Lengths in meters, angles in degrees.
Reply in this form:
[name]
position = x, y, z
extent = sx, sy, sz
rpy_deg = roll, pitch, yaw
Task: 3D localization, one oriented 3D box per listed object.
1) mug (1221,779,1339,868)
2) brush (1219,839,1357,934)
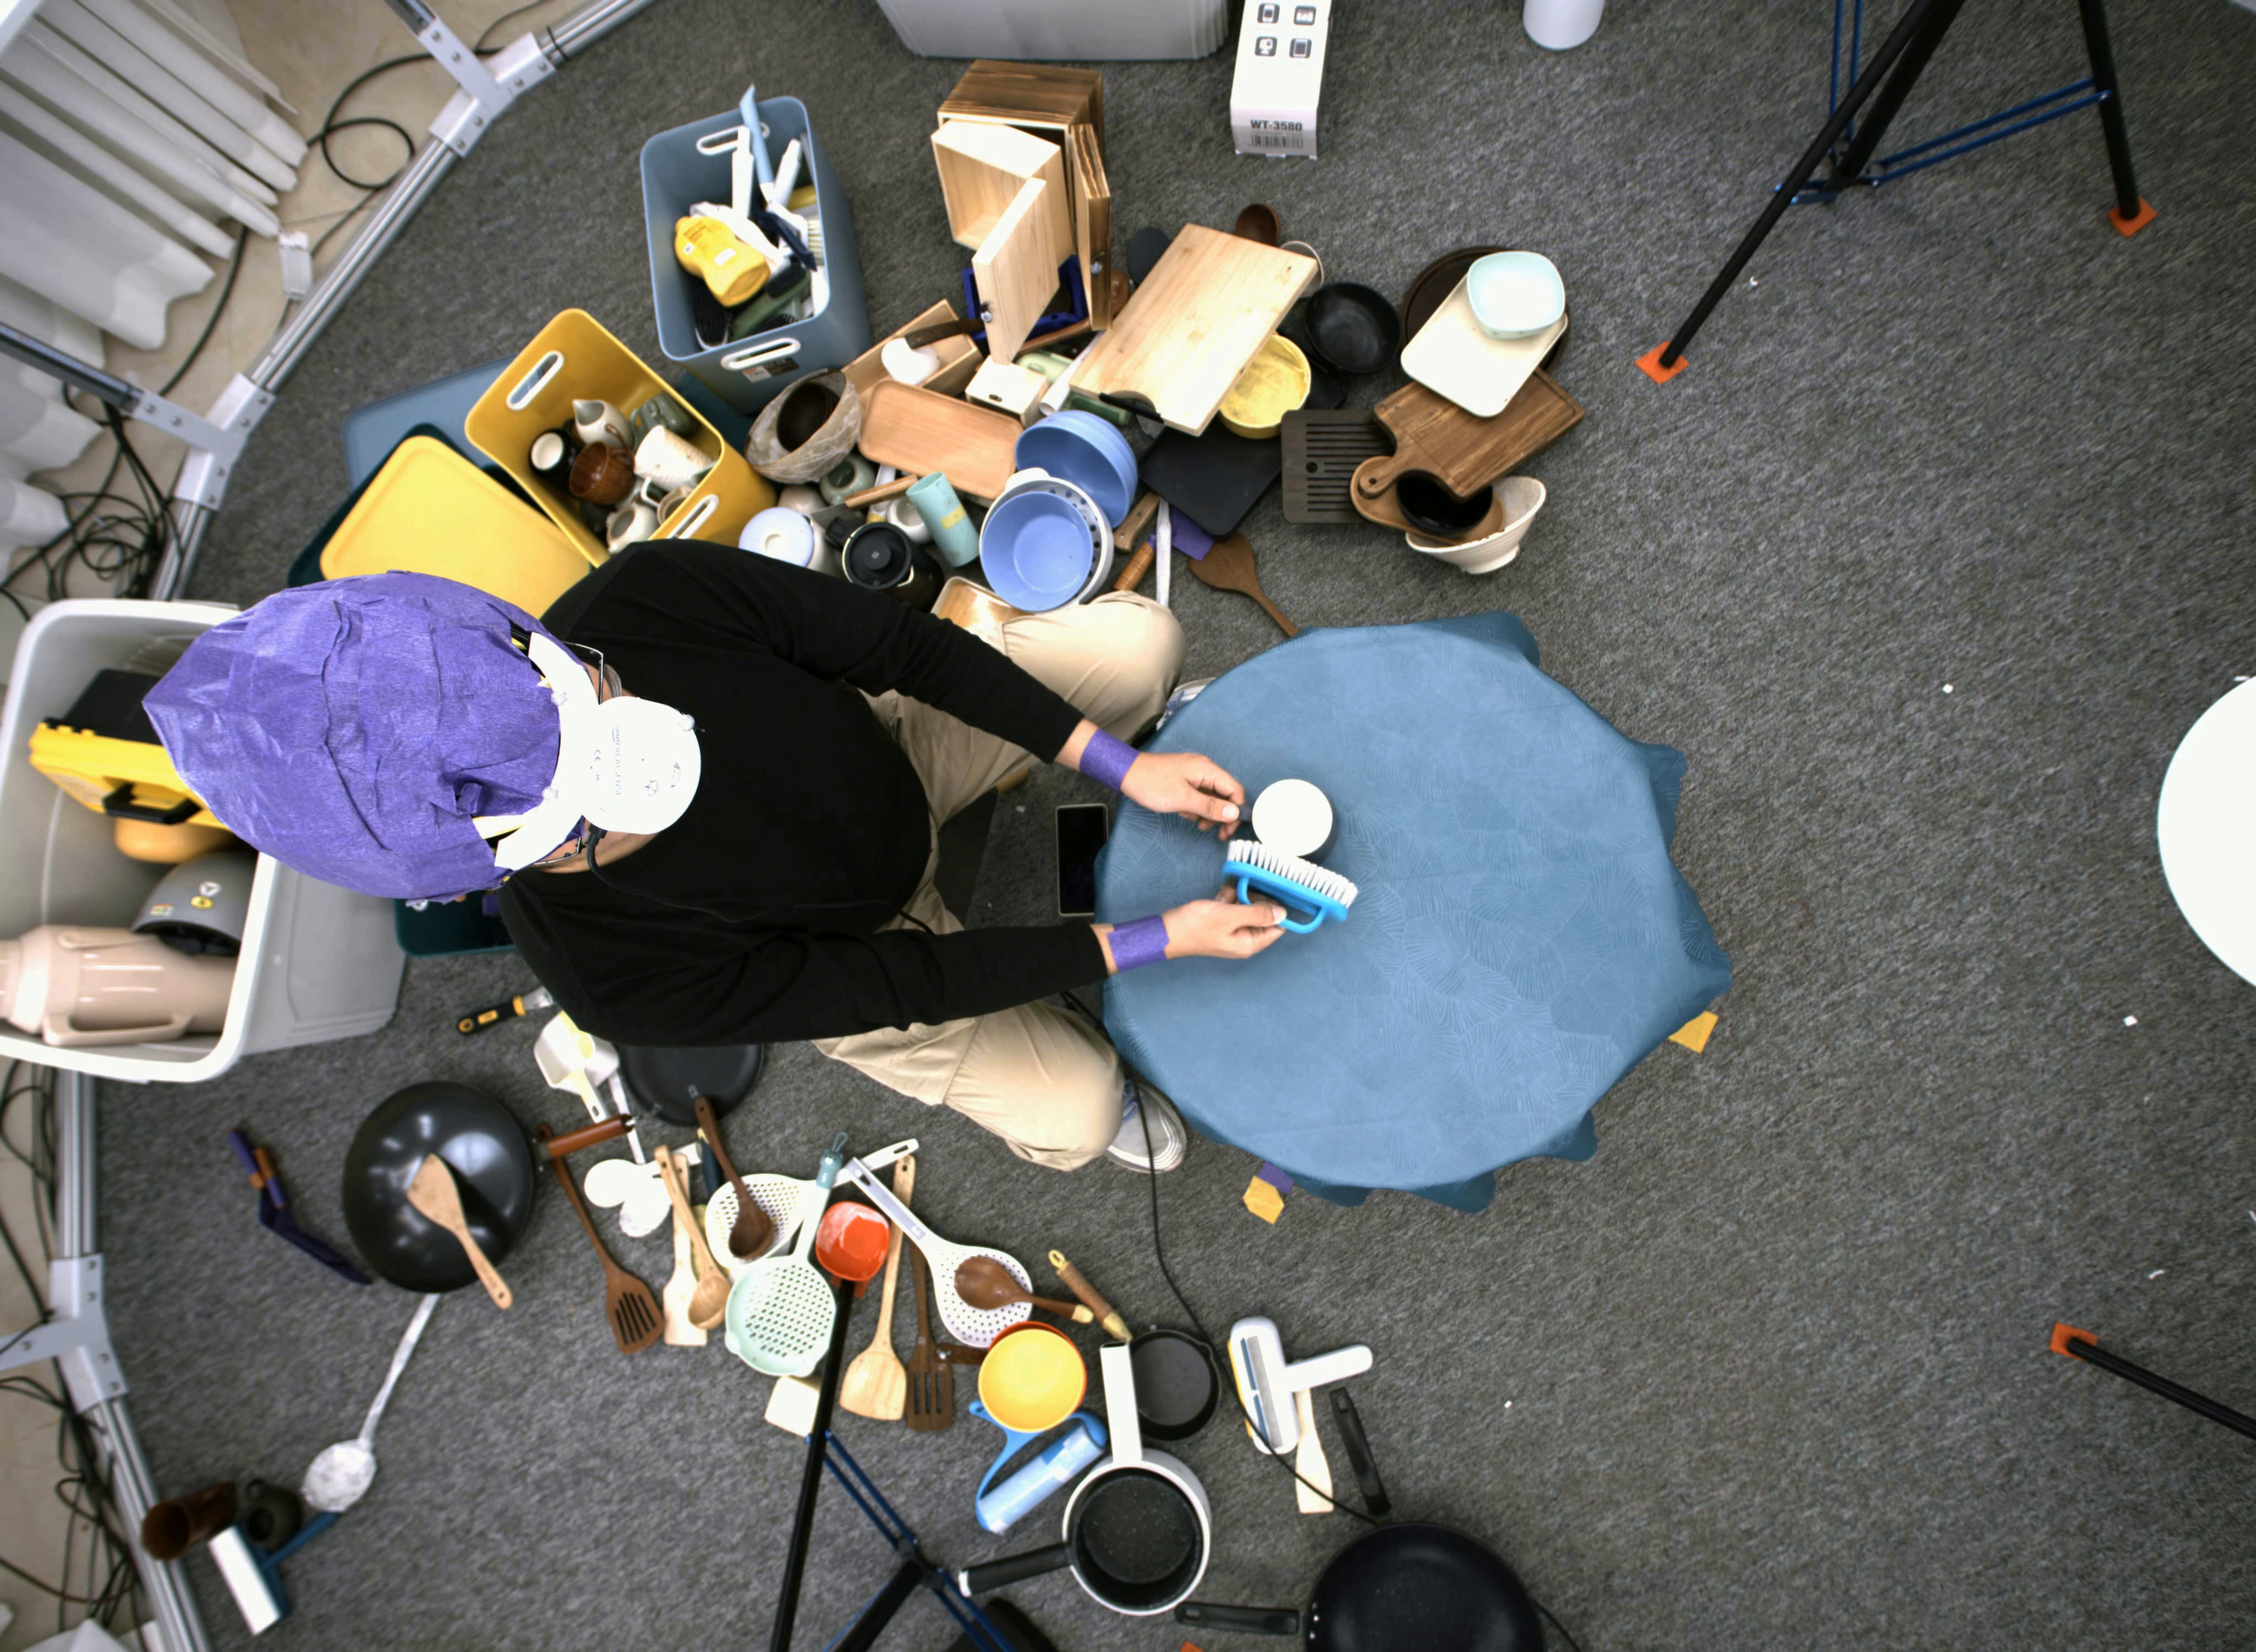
[mug]
position = 0.157, -0.007, 1.436
extent = 0.123, 0.090, 0.093
rpy_deg = 9, 86, 9
[brush]
position = 0.157, 0.069, 1.405
extent = 0.142, 0.085, 0.063
rpy_deg = 24, 80, -2
